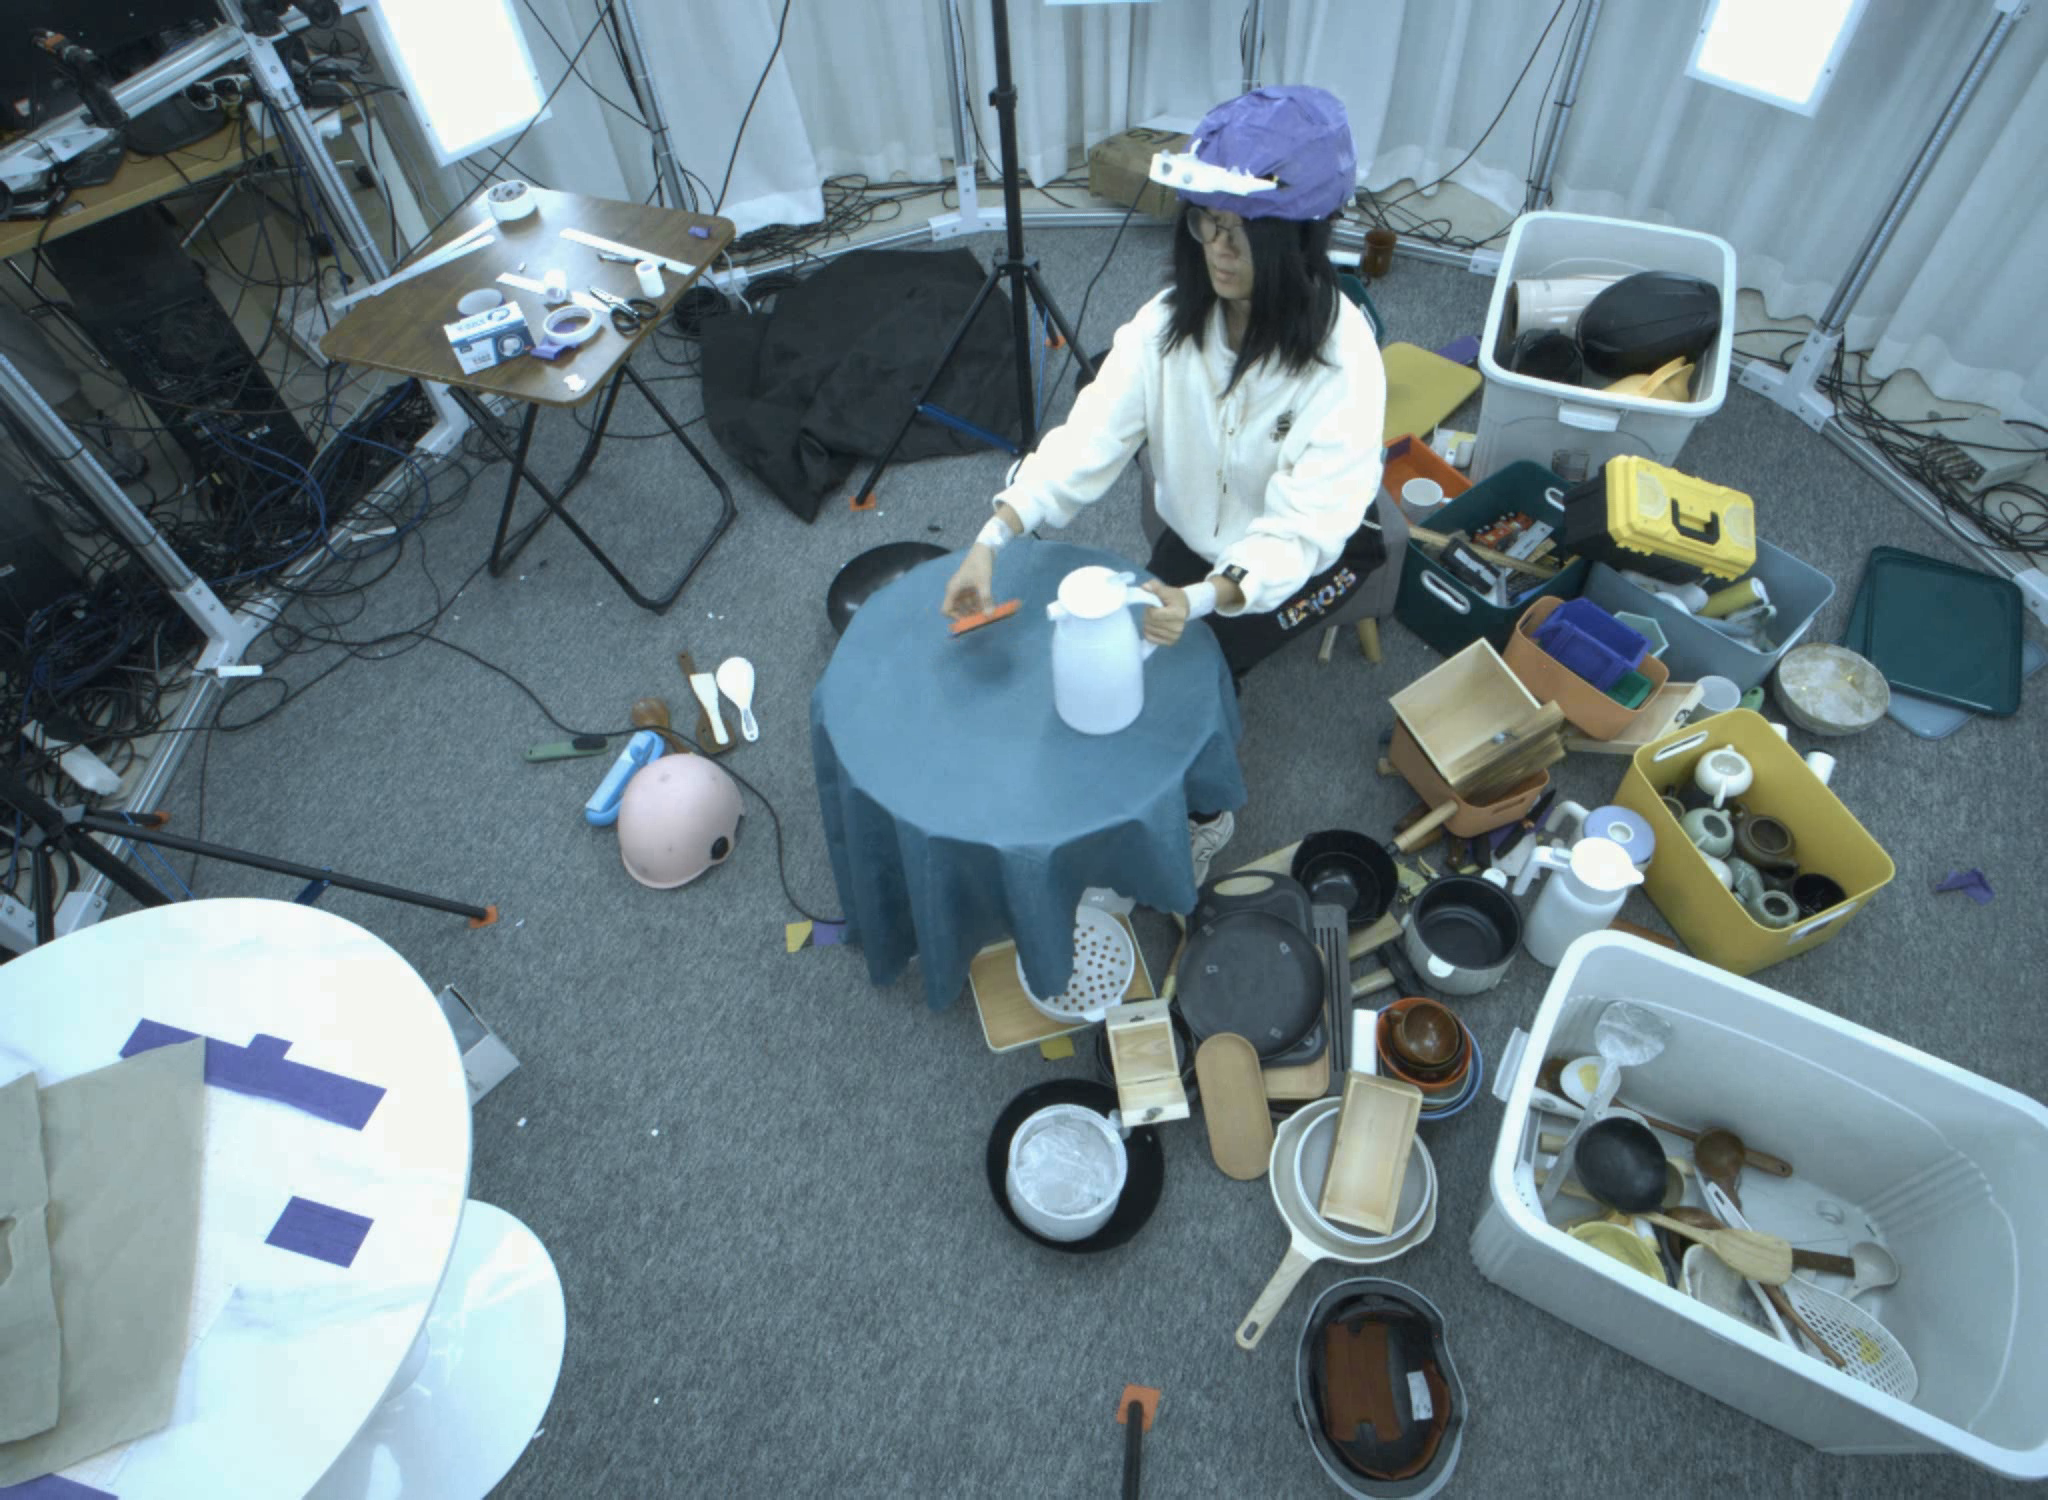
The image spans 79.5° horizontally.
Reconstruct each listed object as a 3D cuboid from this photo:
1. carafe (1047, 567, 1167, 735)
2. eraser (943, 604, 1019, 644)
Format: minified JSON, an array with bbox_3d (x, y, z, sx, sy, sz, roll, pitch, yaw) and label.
[{"bbox_3d":[0.119,-0.151,1.734,0.168,0.251,0.130,-17,56,-7],"label":"carafe"},{"bbox_3d":[-0.065,-0.189,1.839,0.109,0.058,0.023,-22,96,-20],"label":"eraser"}]
